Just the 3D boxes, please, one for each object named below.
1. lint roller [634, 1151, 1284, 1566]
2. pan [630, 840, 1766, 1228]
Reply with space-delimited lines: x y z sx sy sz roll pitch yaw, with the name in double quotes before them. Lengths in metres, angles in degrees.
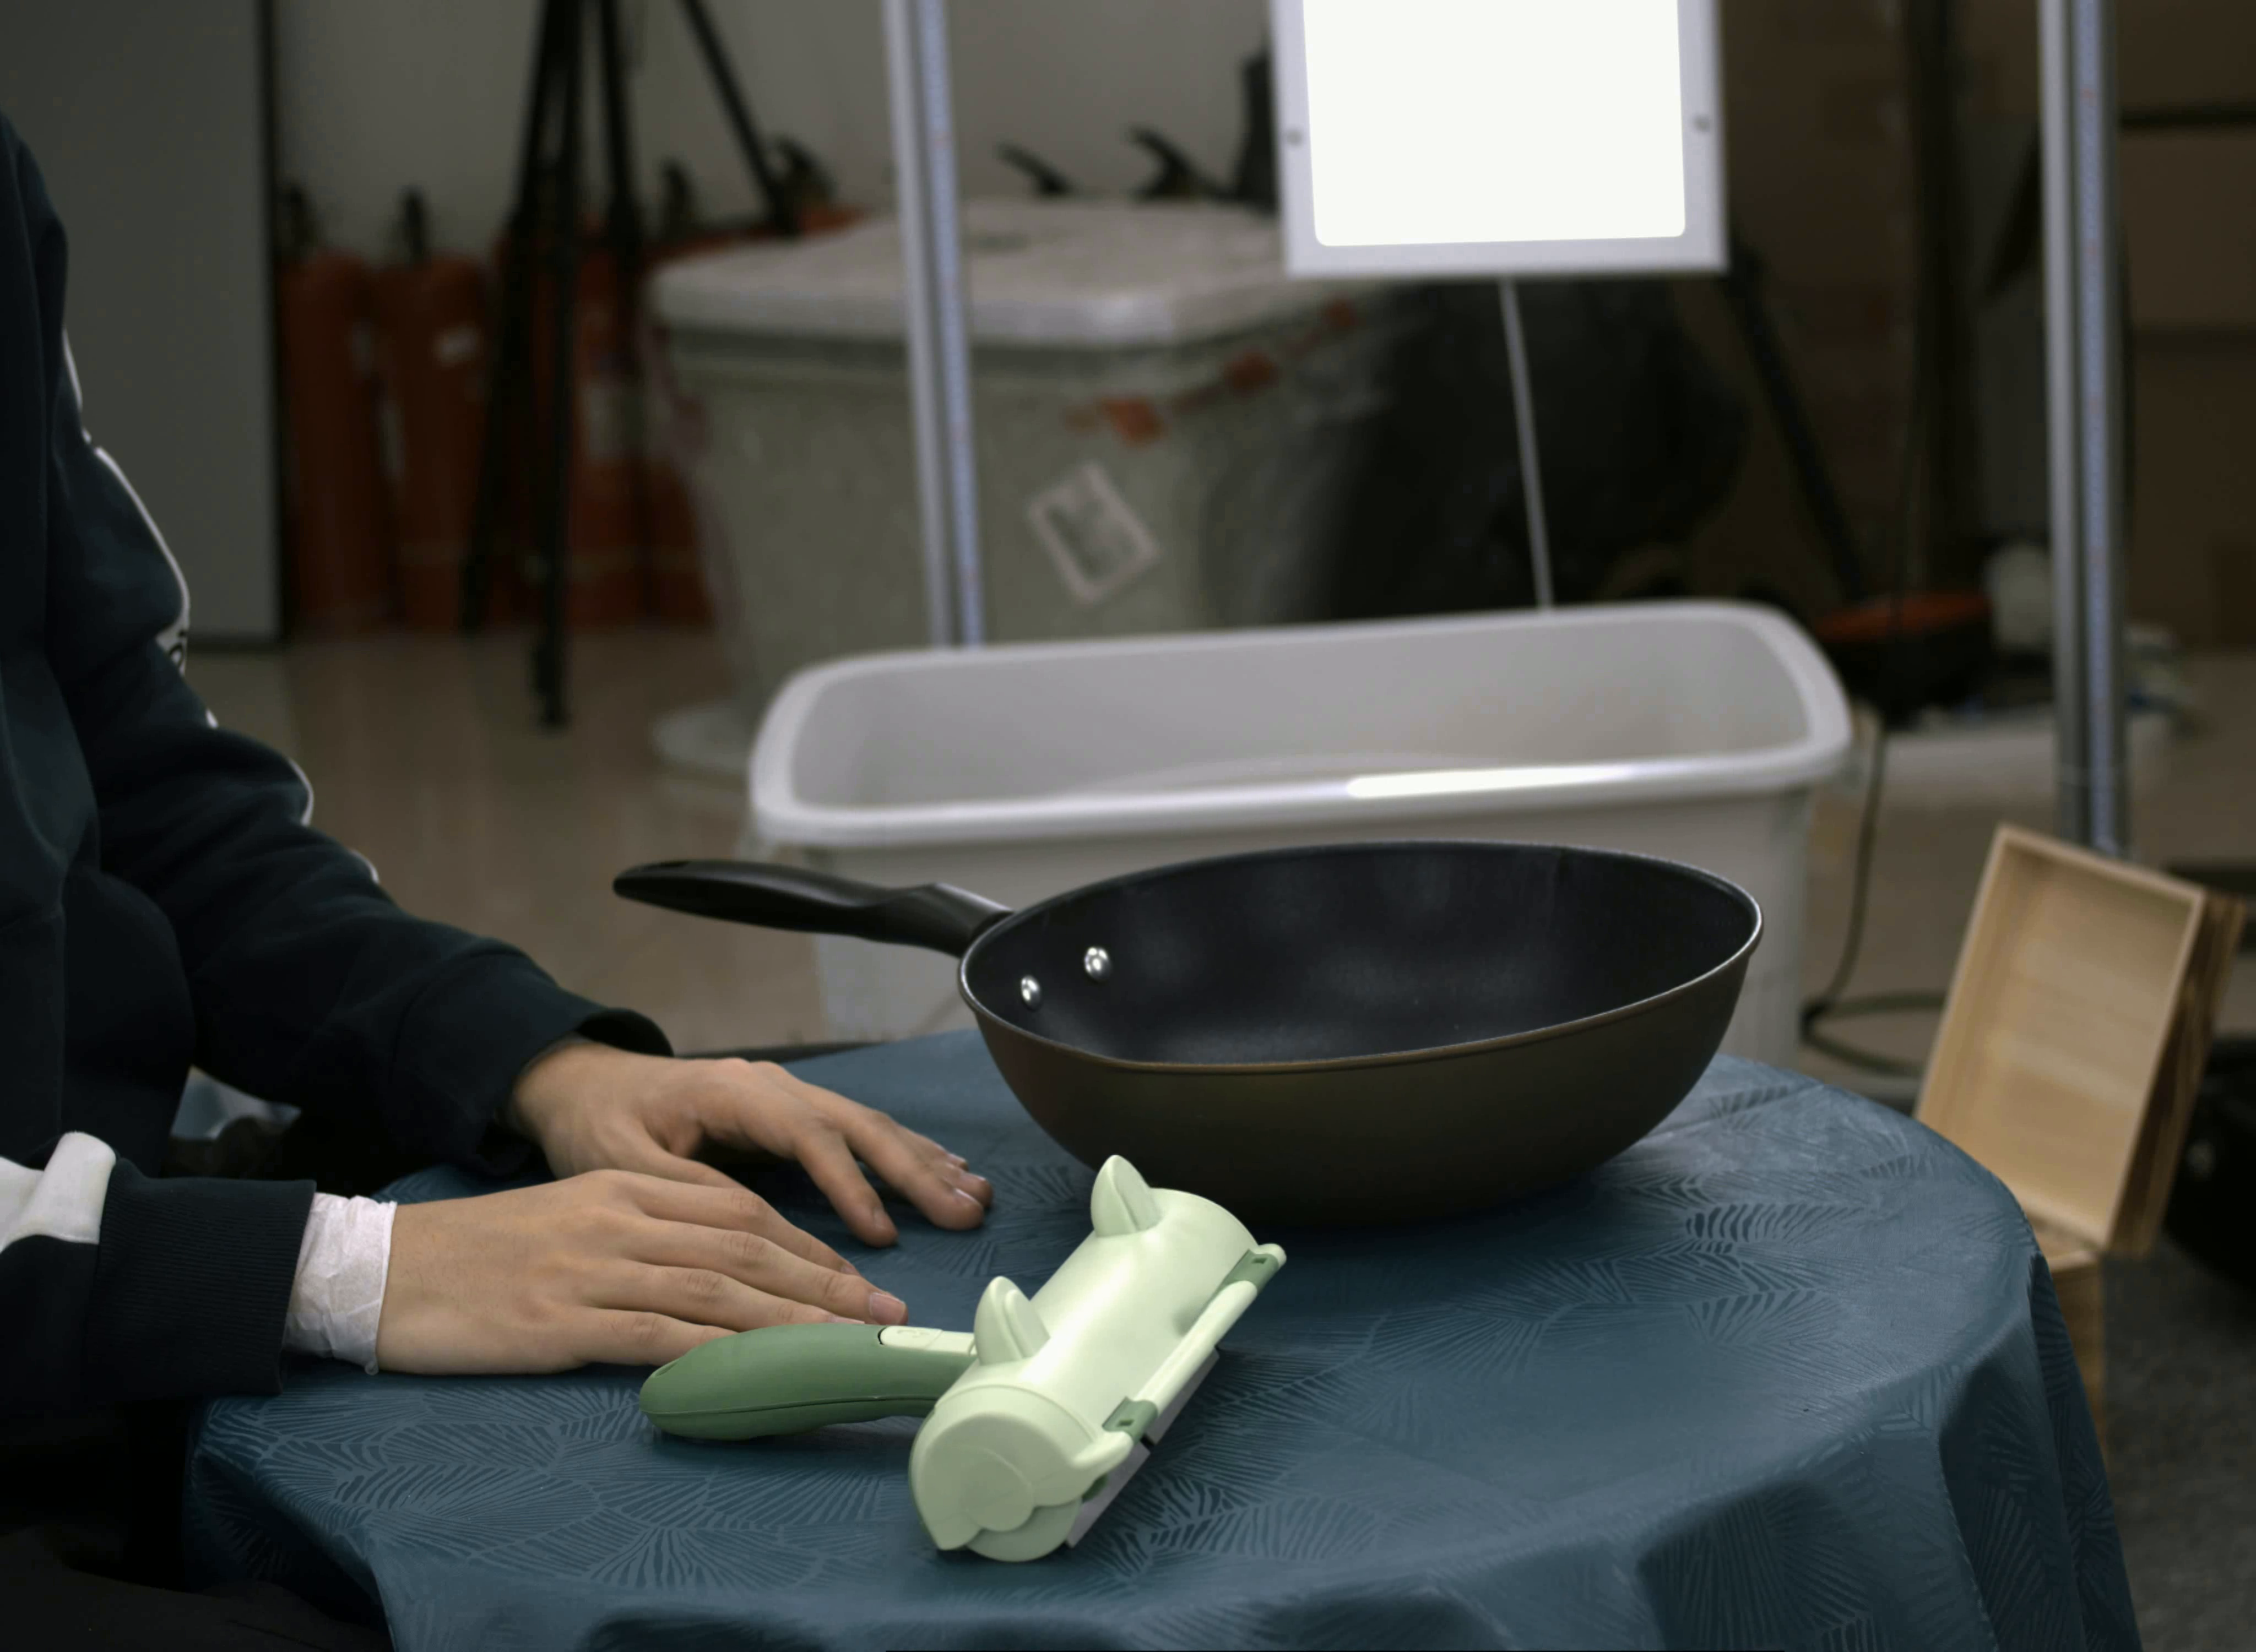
"lint roller" -0.063 0.150 1.662 0.185 0.082 0.195 5 16 17
"pan" 0.007 0.071 1.945 0.473 0.087 0.281 3 16 36
